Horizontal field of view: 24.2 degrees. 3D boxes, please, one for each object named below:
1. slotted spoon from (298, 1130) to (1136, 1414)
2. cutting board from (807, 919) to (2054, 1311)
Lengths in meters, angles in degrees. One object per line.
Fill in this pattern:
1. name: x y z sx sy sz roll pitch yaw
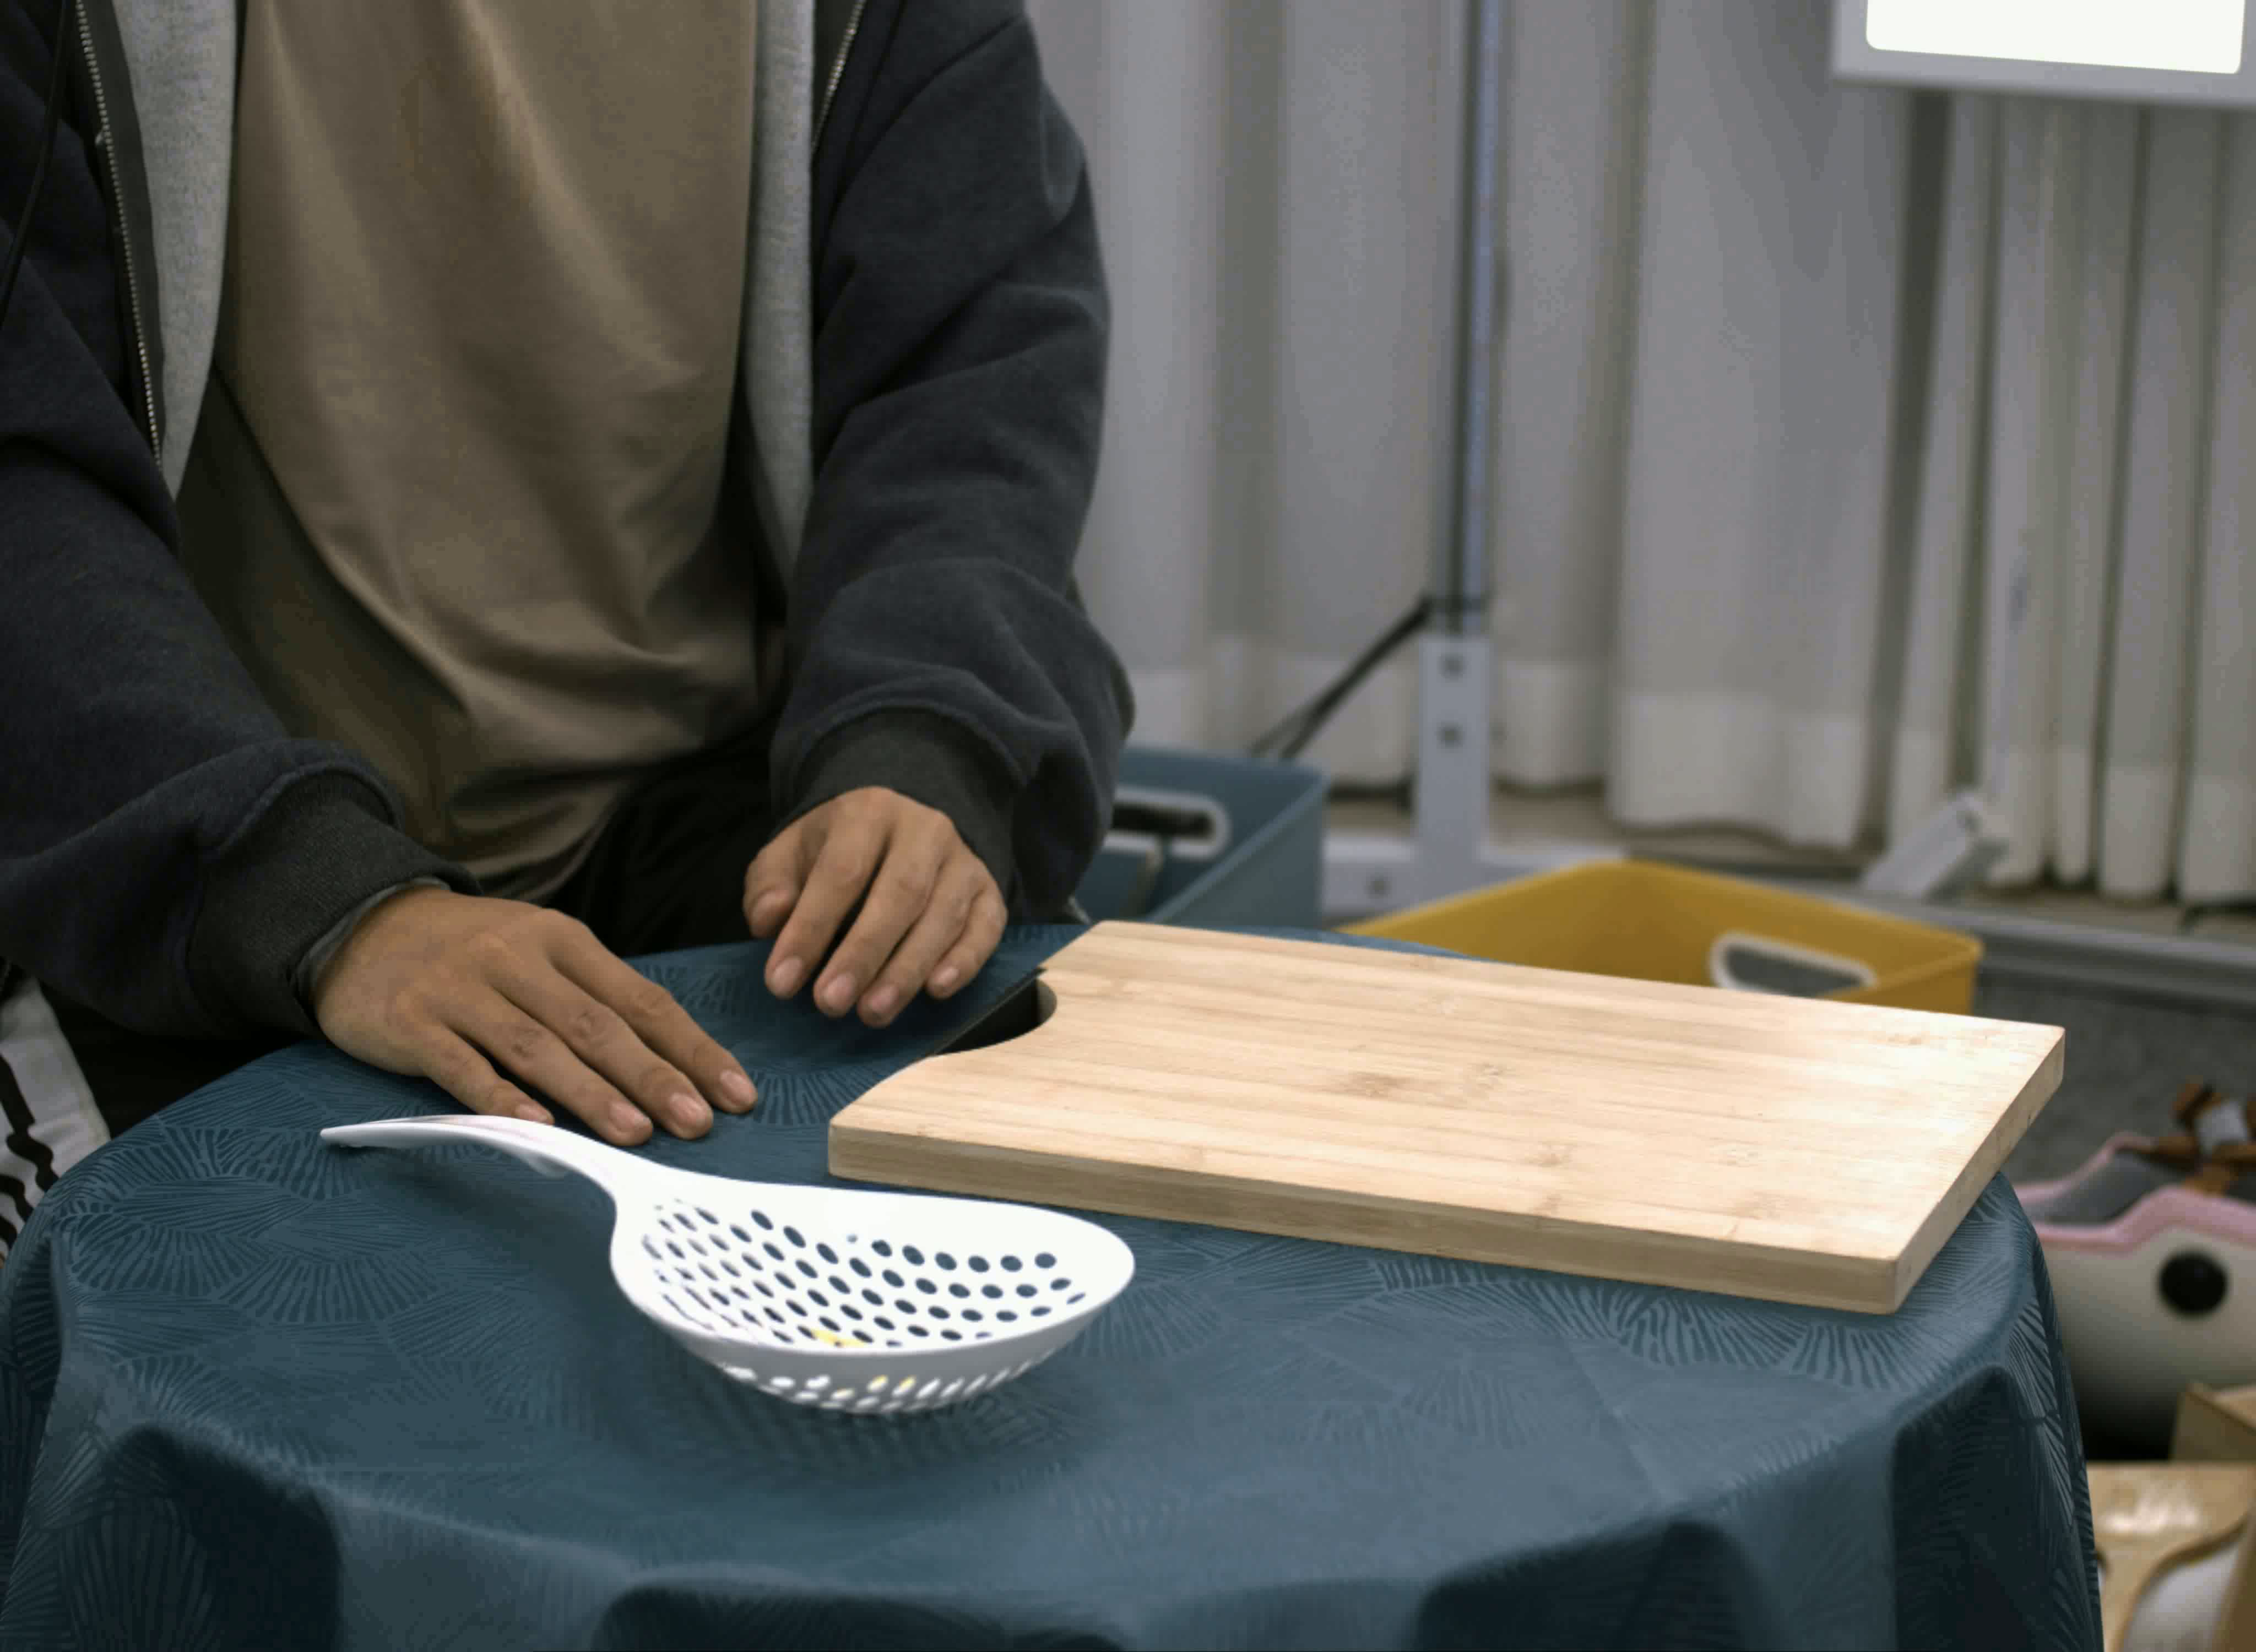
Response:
1. slotted spoon: -0.138 0.115 1.529 0.137 0.051 0.343 -15 22 -39
2. cutting board: 0.102 0.088 1.685 0.345 0.024 0.251 6 16 19
